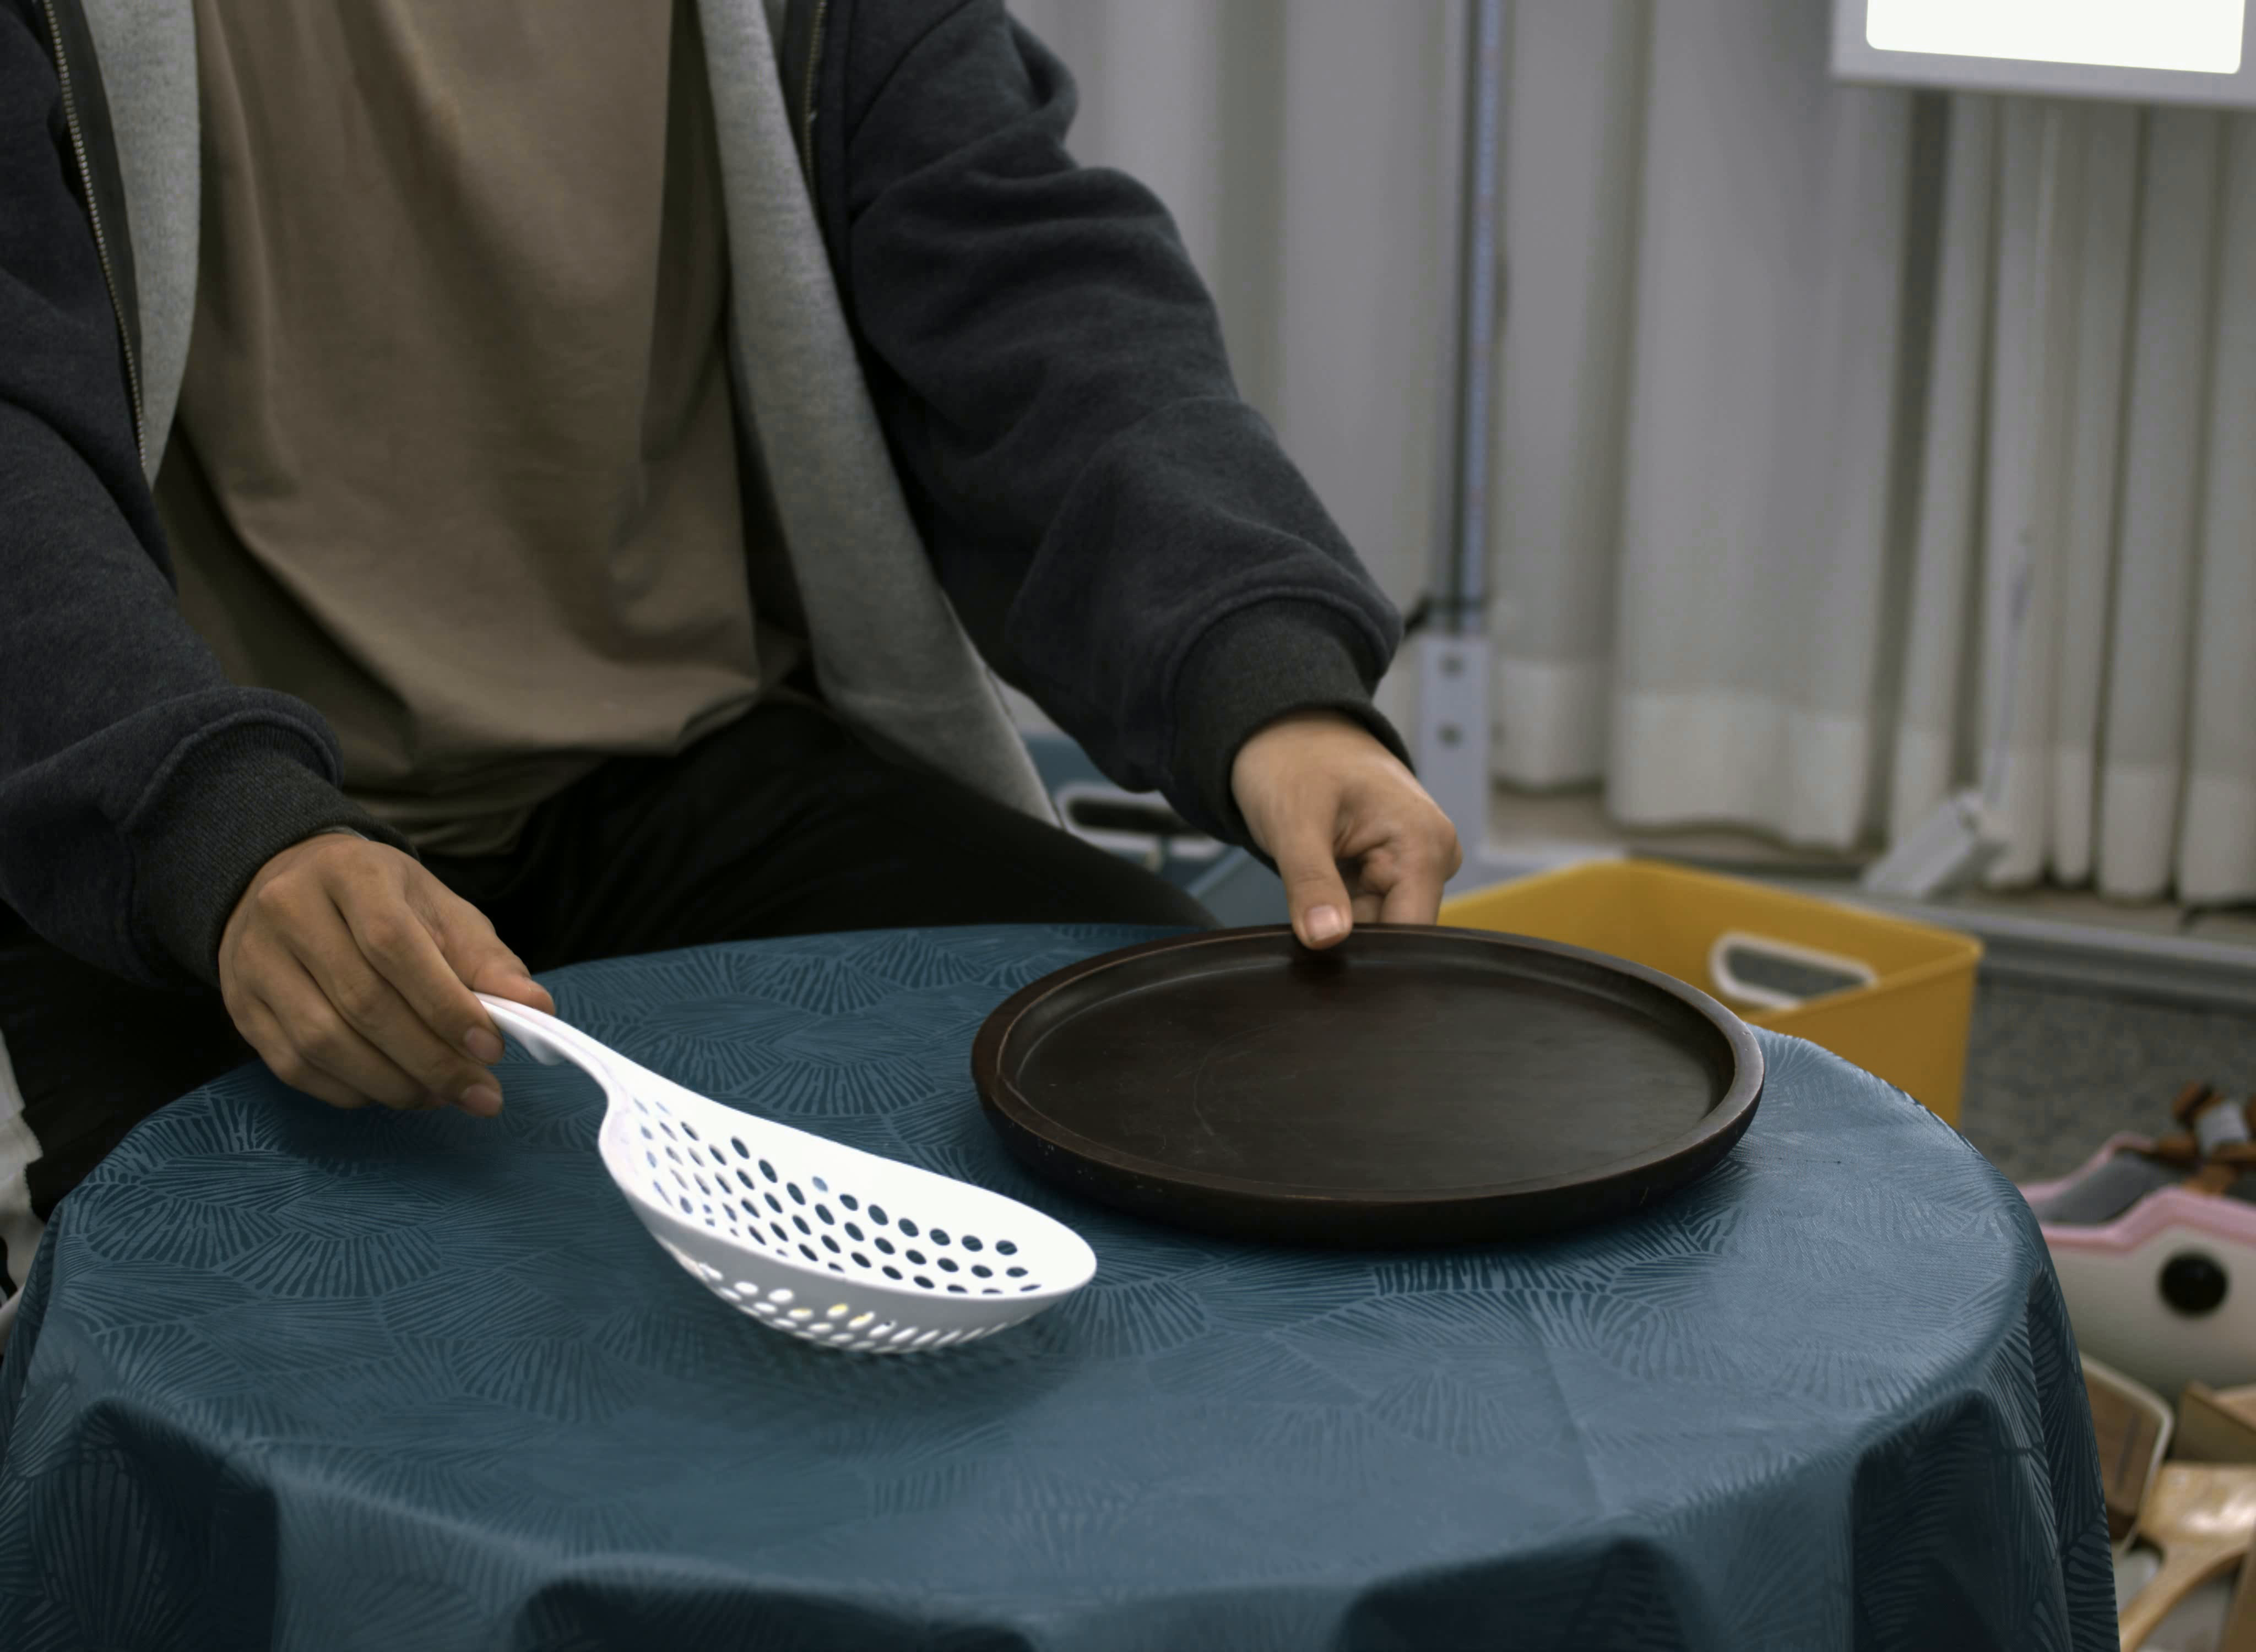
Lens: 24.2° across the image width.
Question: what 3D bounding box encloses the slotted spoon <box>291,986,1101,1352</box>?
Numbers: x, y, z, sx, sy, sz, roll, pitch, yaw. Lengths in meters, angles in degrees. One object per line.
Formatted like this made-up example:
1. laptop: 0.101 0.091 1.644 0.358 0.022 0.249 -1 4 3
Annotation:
1. slotted spoon: -0.147 0.089 1.568 0.138 0.050 0.343 1 19 -41

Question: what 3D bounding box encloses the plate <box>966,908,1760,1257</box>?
1. plate: 0.074 0.081 1.675 0.254 0.029 0.253 0 19 1
